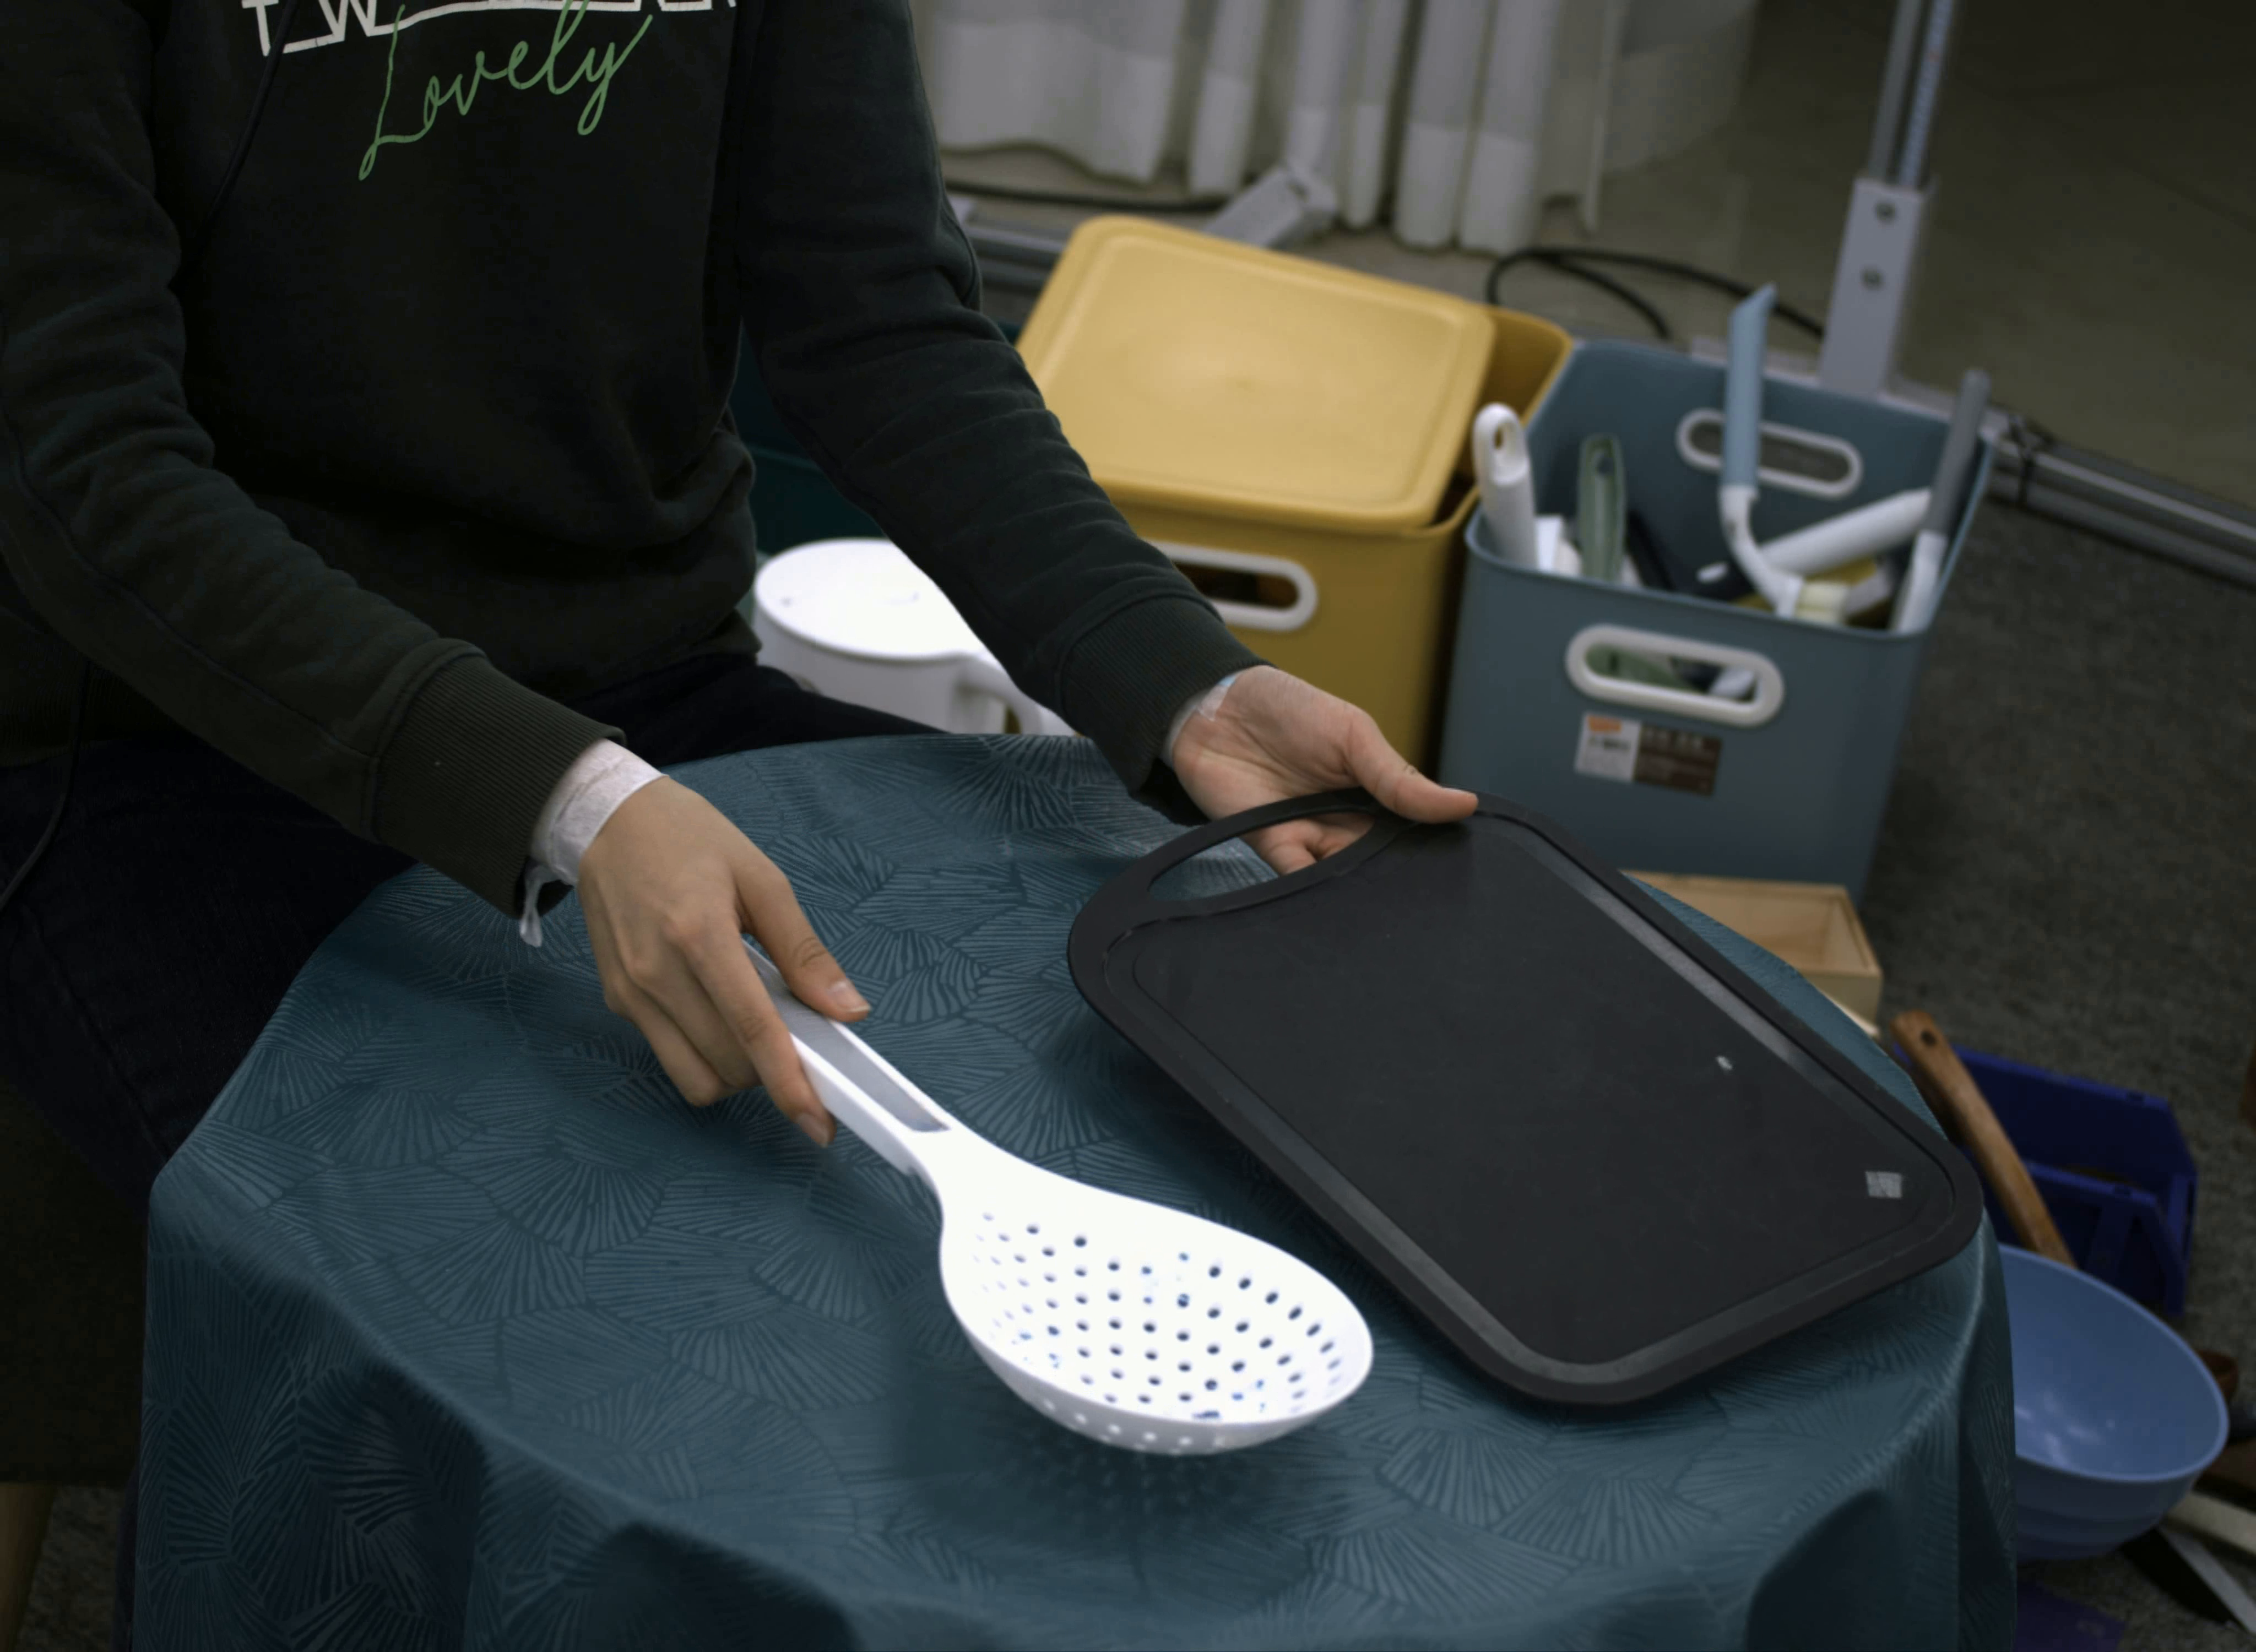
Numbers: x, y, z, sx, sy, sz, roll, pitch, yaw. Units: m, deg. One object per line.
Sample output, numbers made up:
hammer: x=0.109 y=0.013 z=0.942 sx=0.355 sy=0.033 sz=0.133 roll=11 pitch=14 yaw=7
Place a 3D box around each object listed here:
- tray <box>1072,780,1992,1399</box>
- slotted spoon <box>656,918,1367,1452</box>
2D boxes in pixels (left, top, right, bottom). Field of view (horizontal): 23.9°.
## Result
tray: x=0.130 y=0.079 z=1.834 sx=0.210 sy=0.010 sz=0.328 roll=-20 pitch=42 yaw=-29
slotted spoon: x=-0.056 y=0.111 z=1.730 sx=0.135 sy=0.045 sz=0.353 roll=-5 pitch=32 yaw=-37
